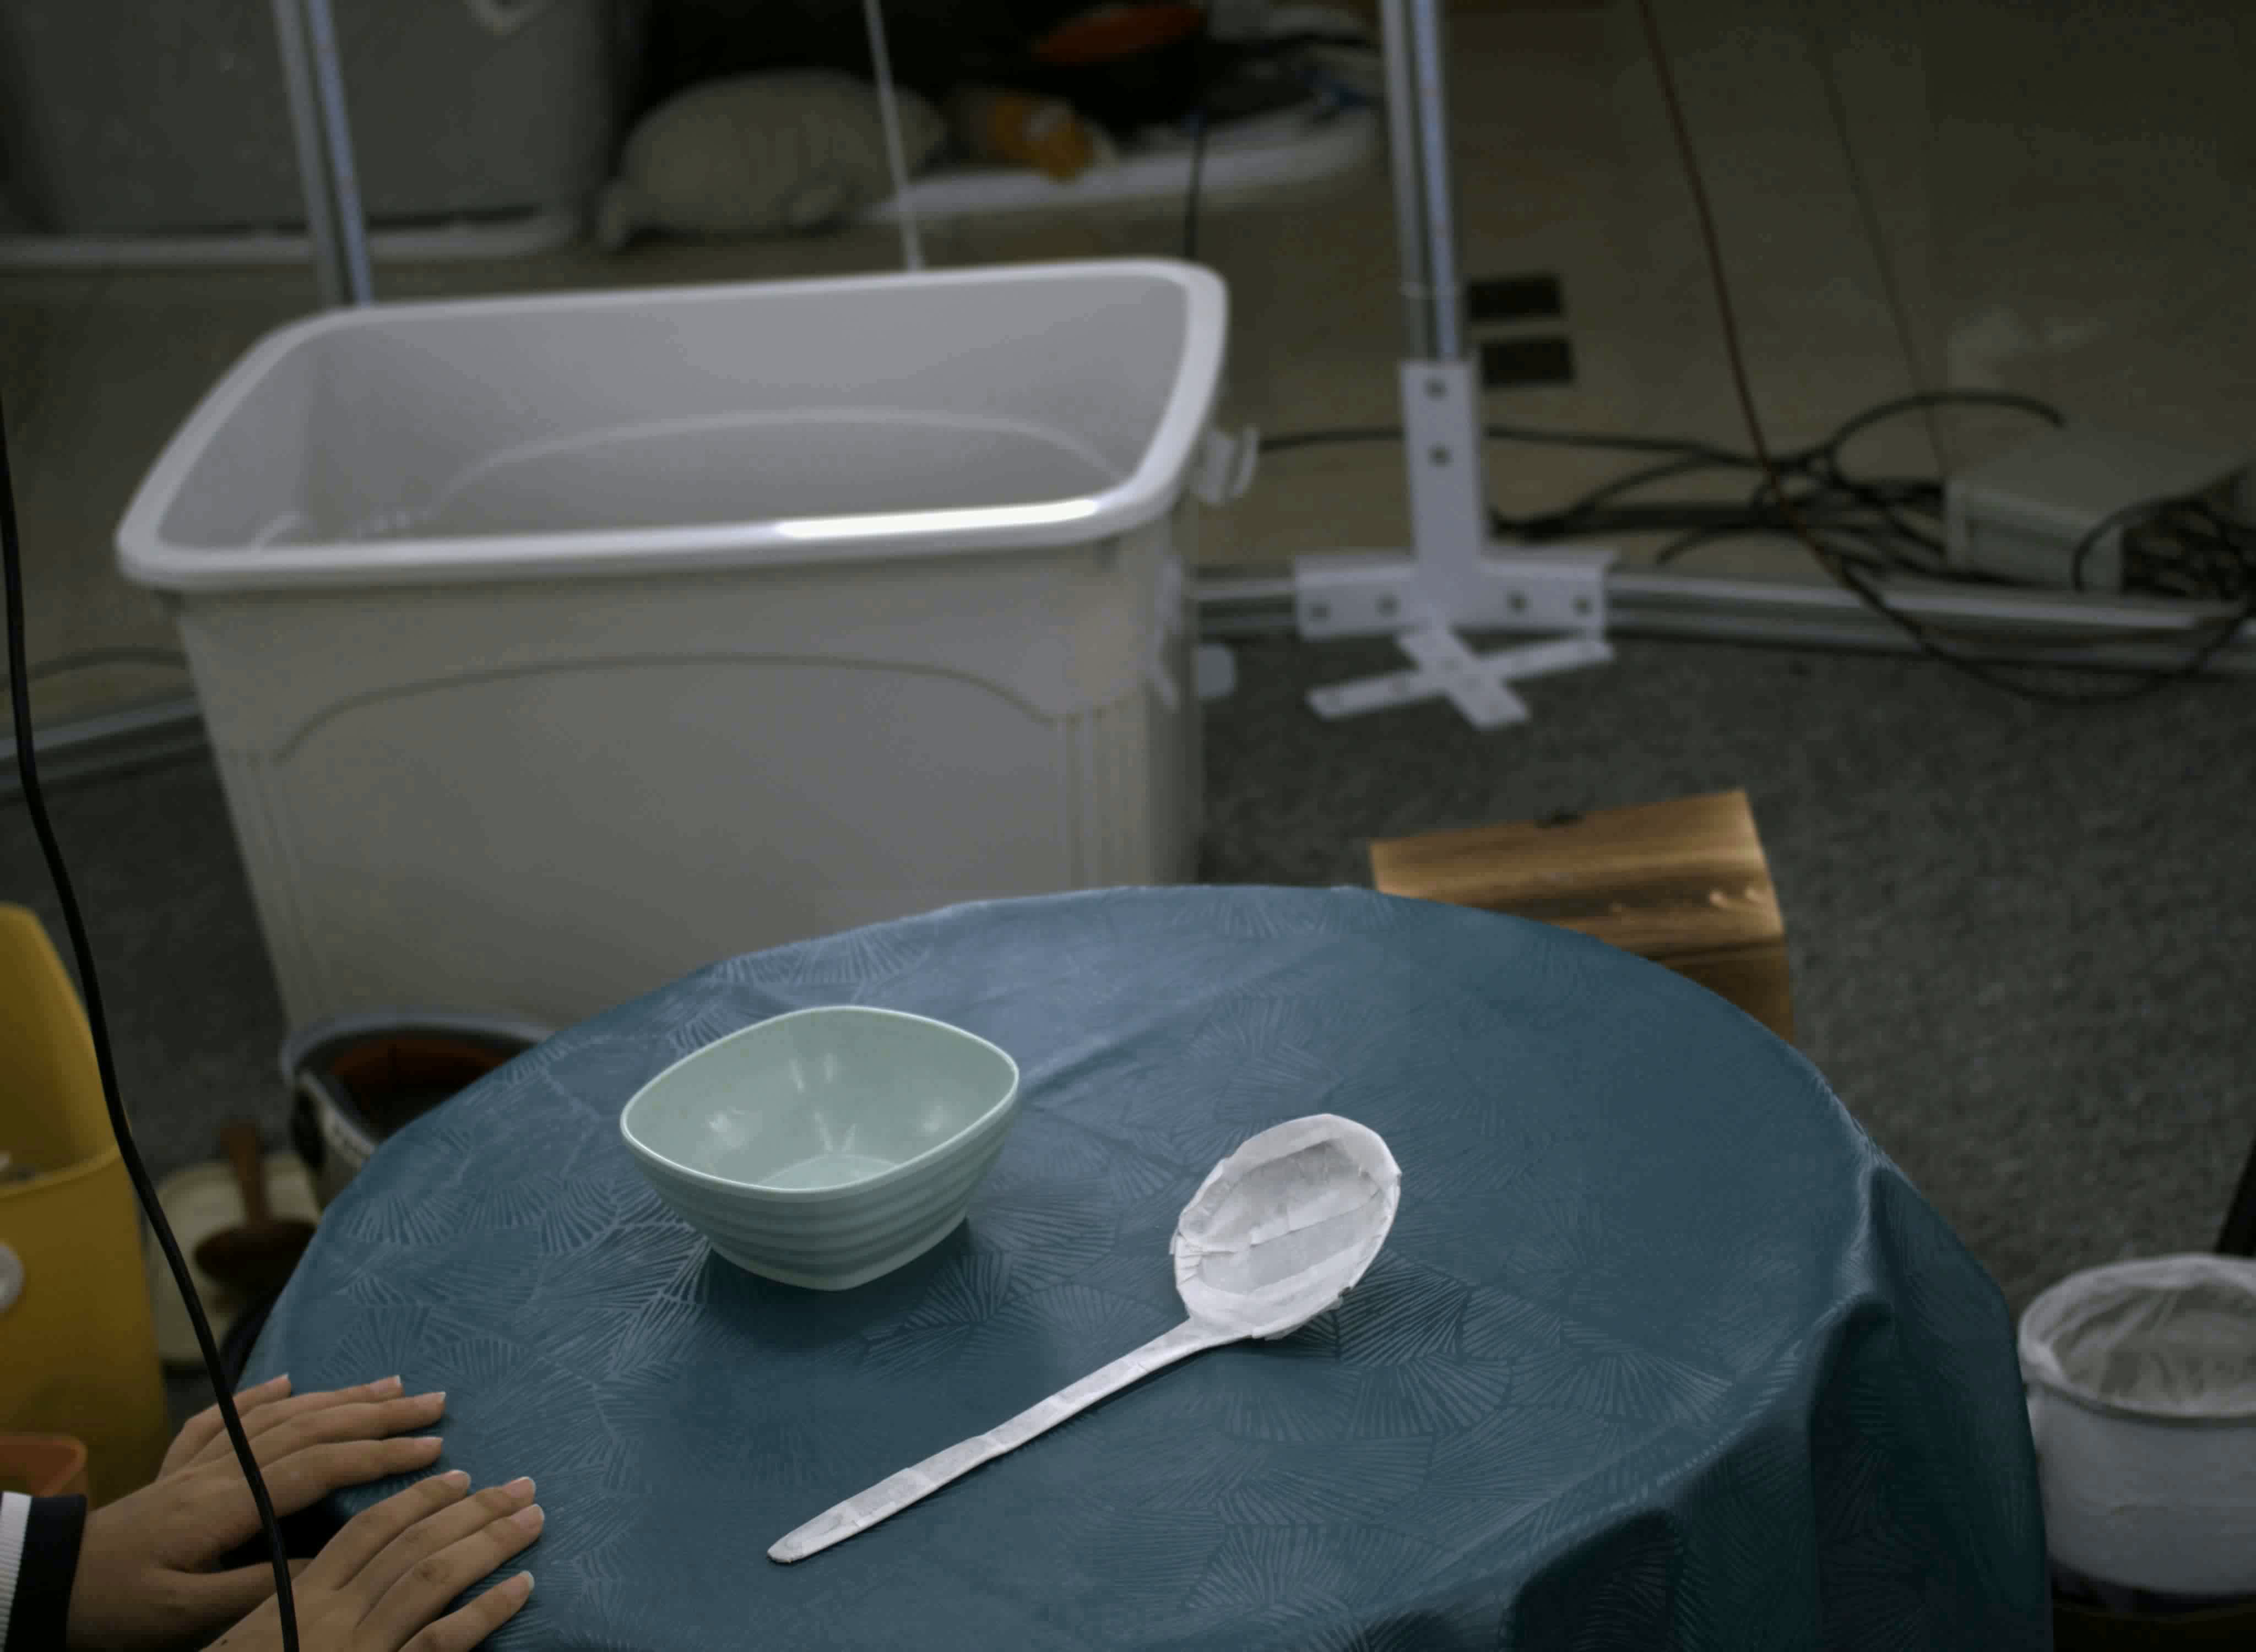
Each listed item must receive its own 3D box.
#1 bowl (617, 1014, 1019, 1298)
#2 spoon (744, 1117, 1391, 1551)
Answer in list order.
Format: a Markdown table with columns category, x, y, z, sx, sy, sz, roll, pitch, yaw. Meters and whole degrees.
| category | x | y | z | sx | sy | sz | roll | pitch | yaw |
| --- | --- | --- | --- | --- | --- | --- | --- | --- | --- |
| bowl | -0.114 | 0.129 | 2.134 | 0.151 | 0.059 | 0.149 | -5 | 25 | 2 |
| spoon | -0.025 | 0.176 | 2.005 | 0.275 | 0.060 | 0.100 | -22 | 25 | -30 |
